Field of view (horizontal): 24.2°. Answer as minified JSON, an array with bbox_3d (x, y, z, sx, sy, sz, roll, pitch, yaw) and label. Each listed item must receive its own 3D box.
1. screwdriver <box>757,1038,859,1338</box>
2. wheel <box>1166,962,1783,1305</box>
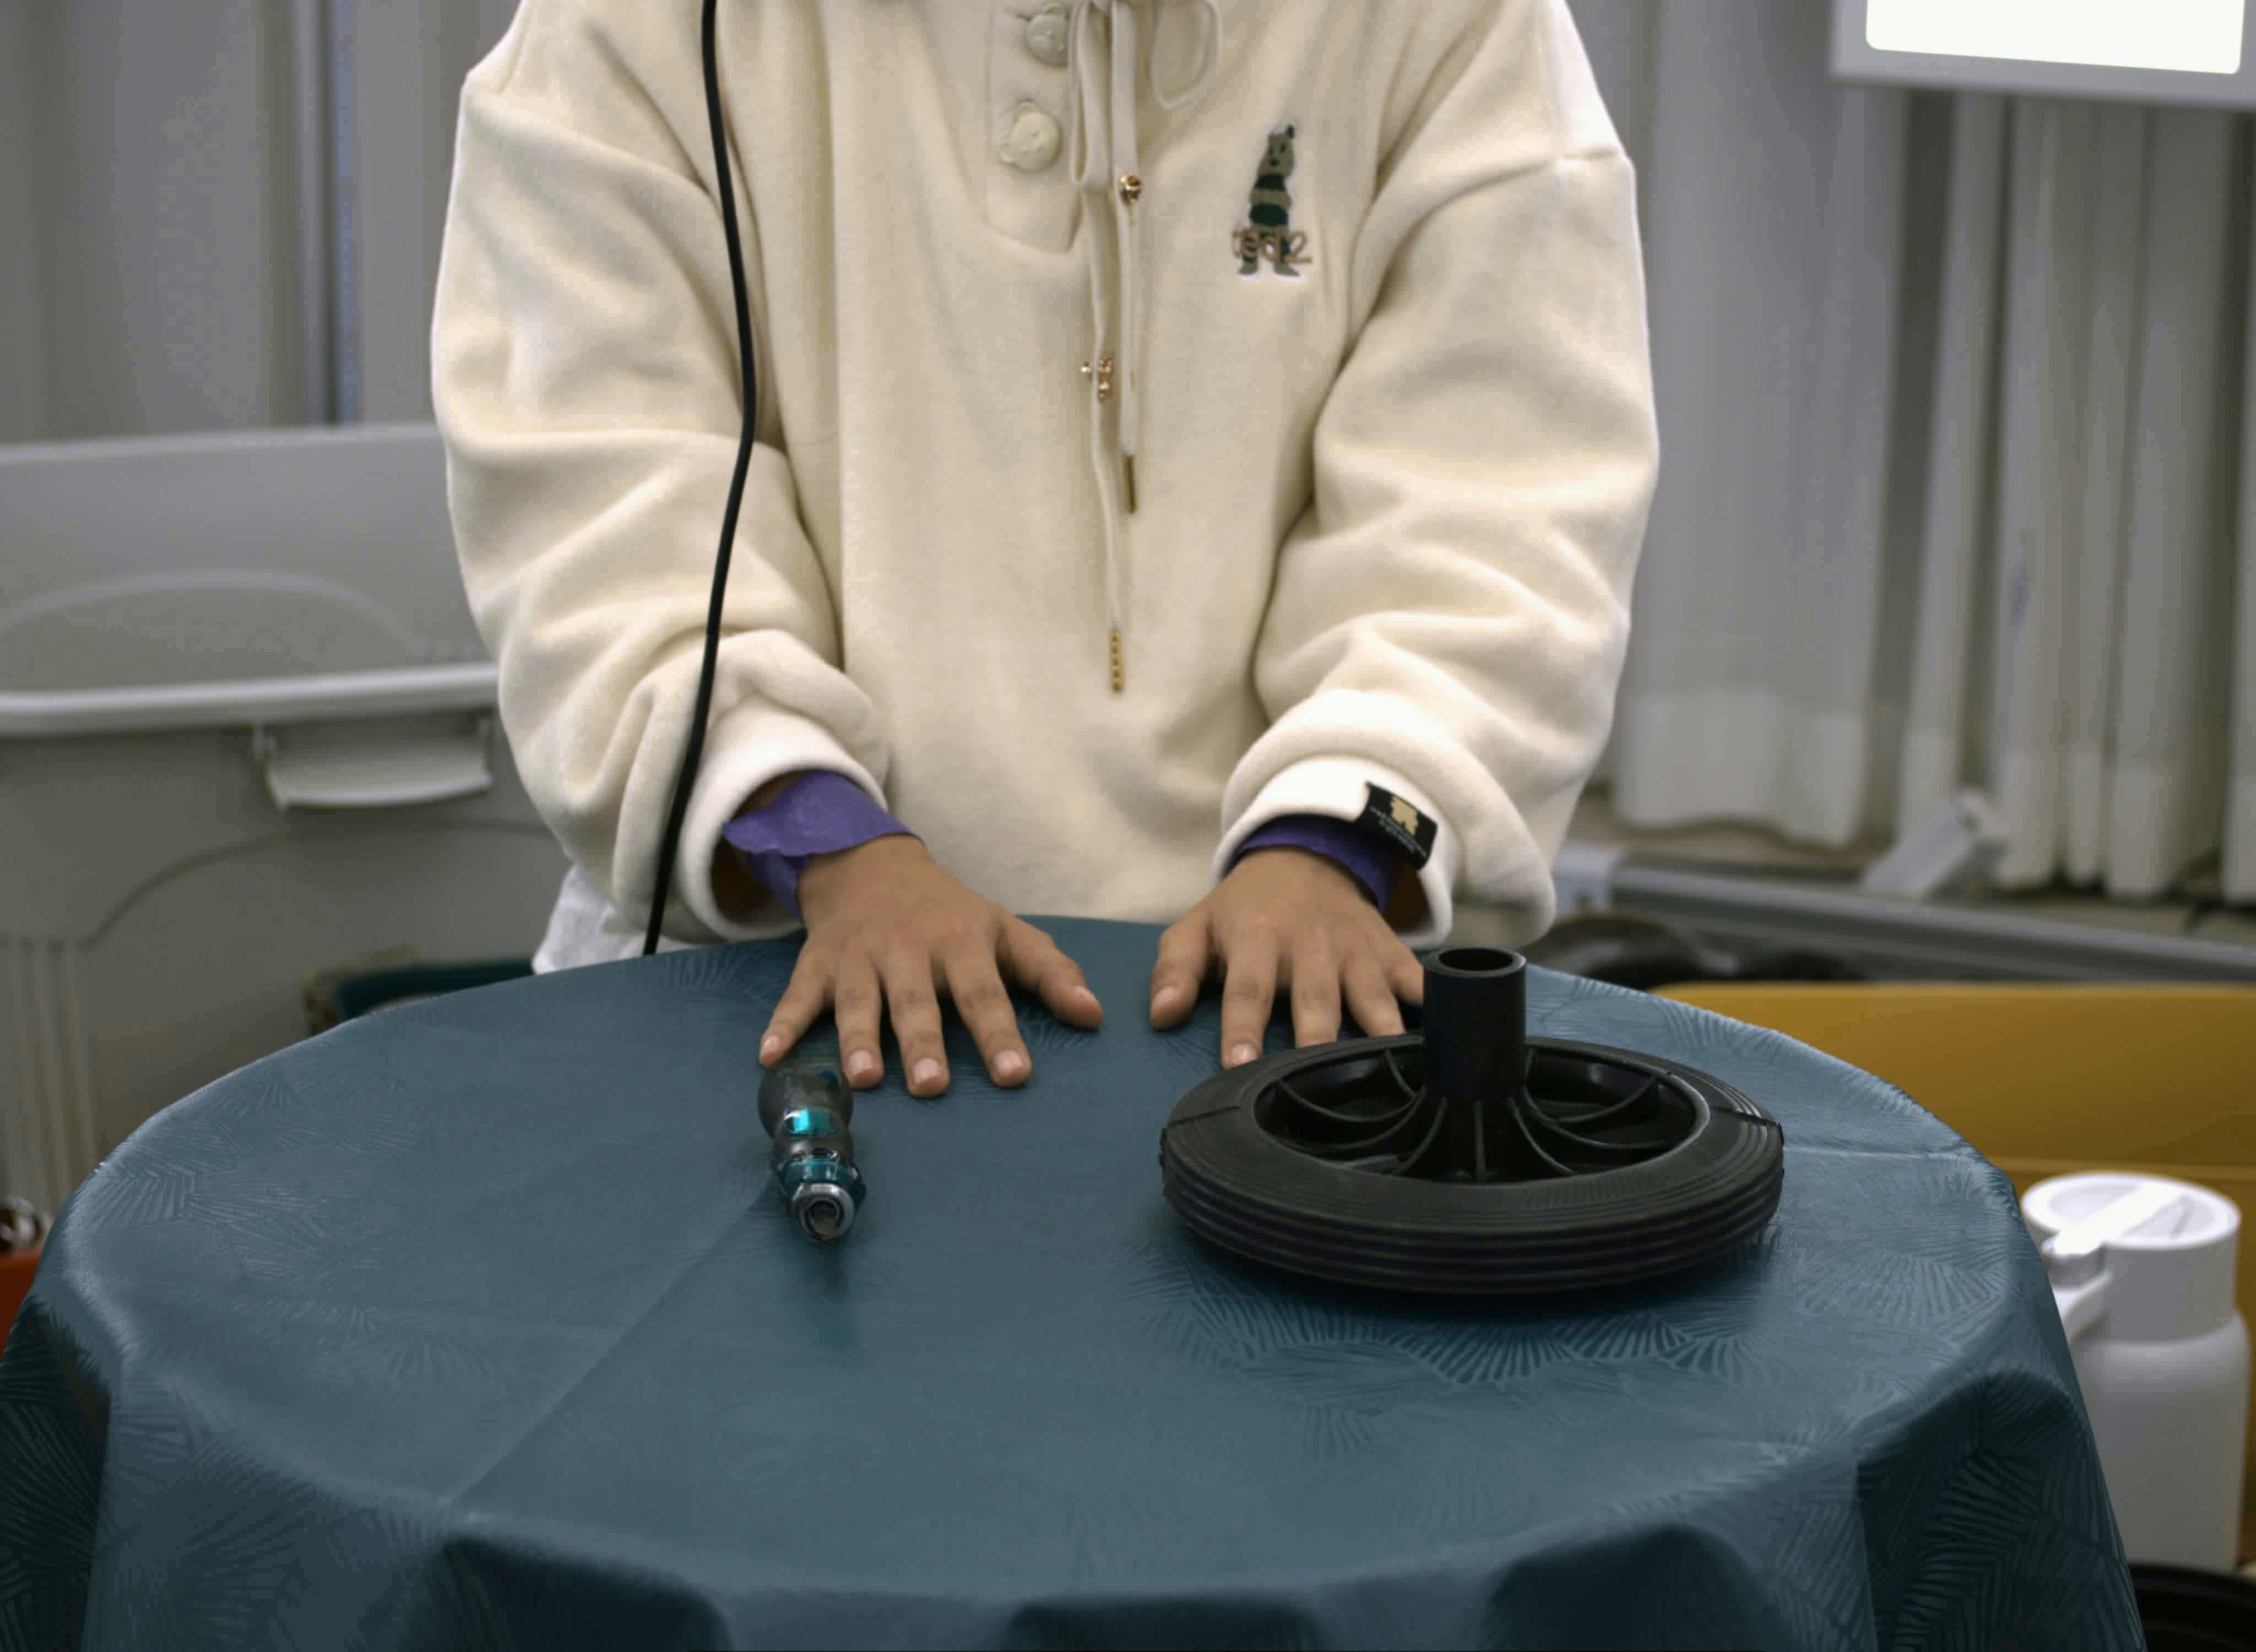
[{"bbox_3d":[-0.094,0.111,1.584,0.033,0.034,0.188,-1,21,-6],"label":"screwdriver"},{"bbox_3d":[0.104,0.083,1.587,0.185,0.080,0.190,11,19,34],"label":"wheel"}]
